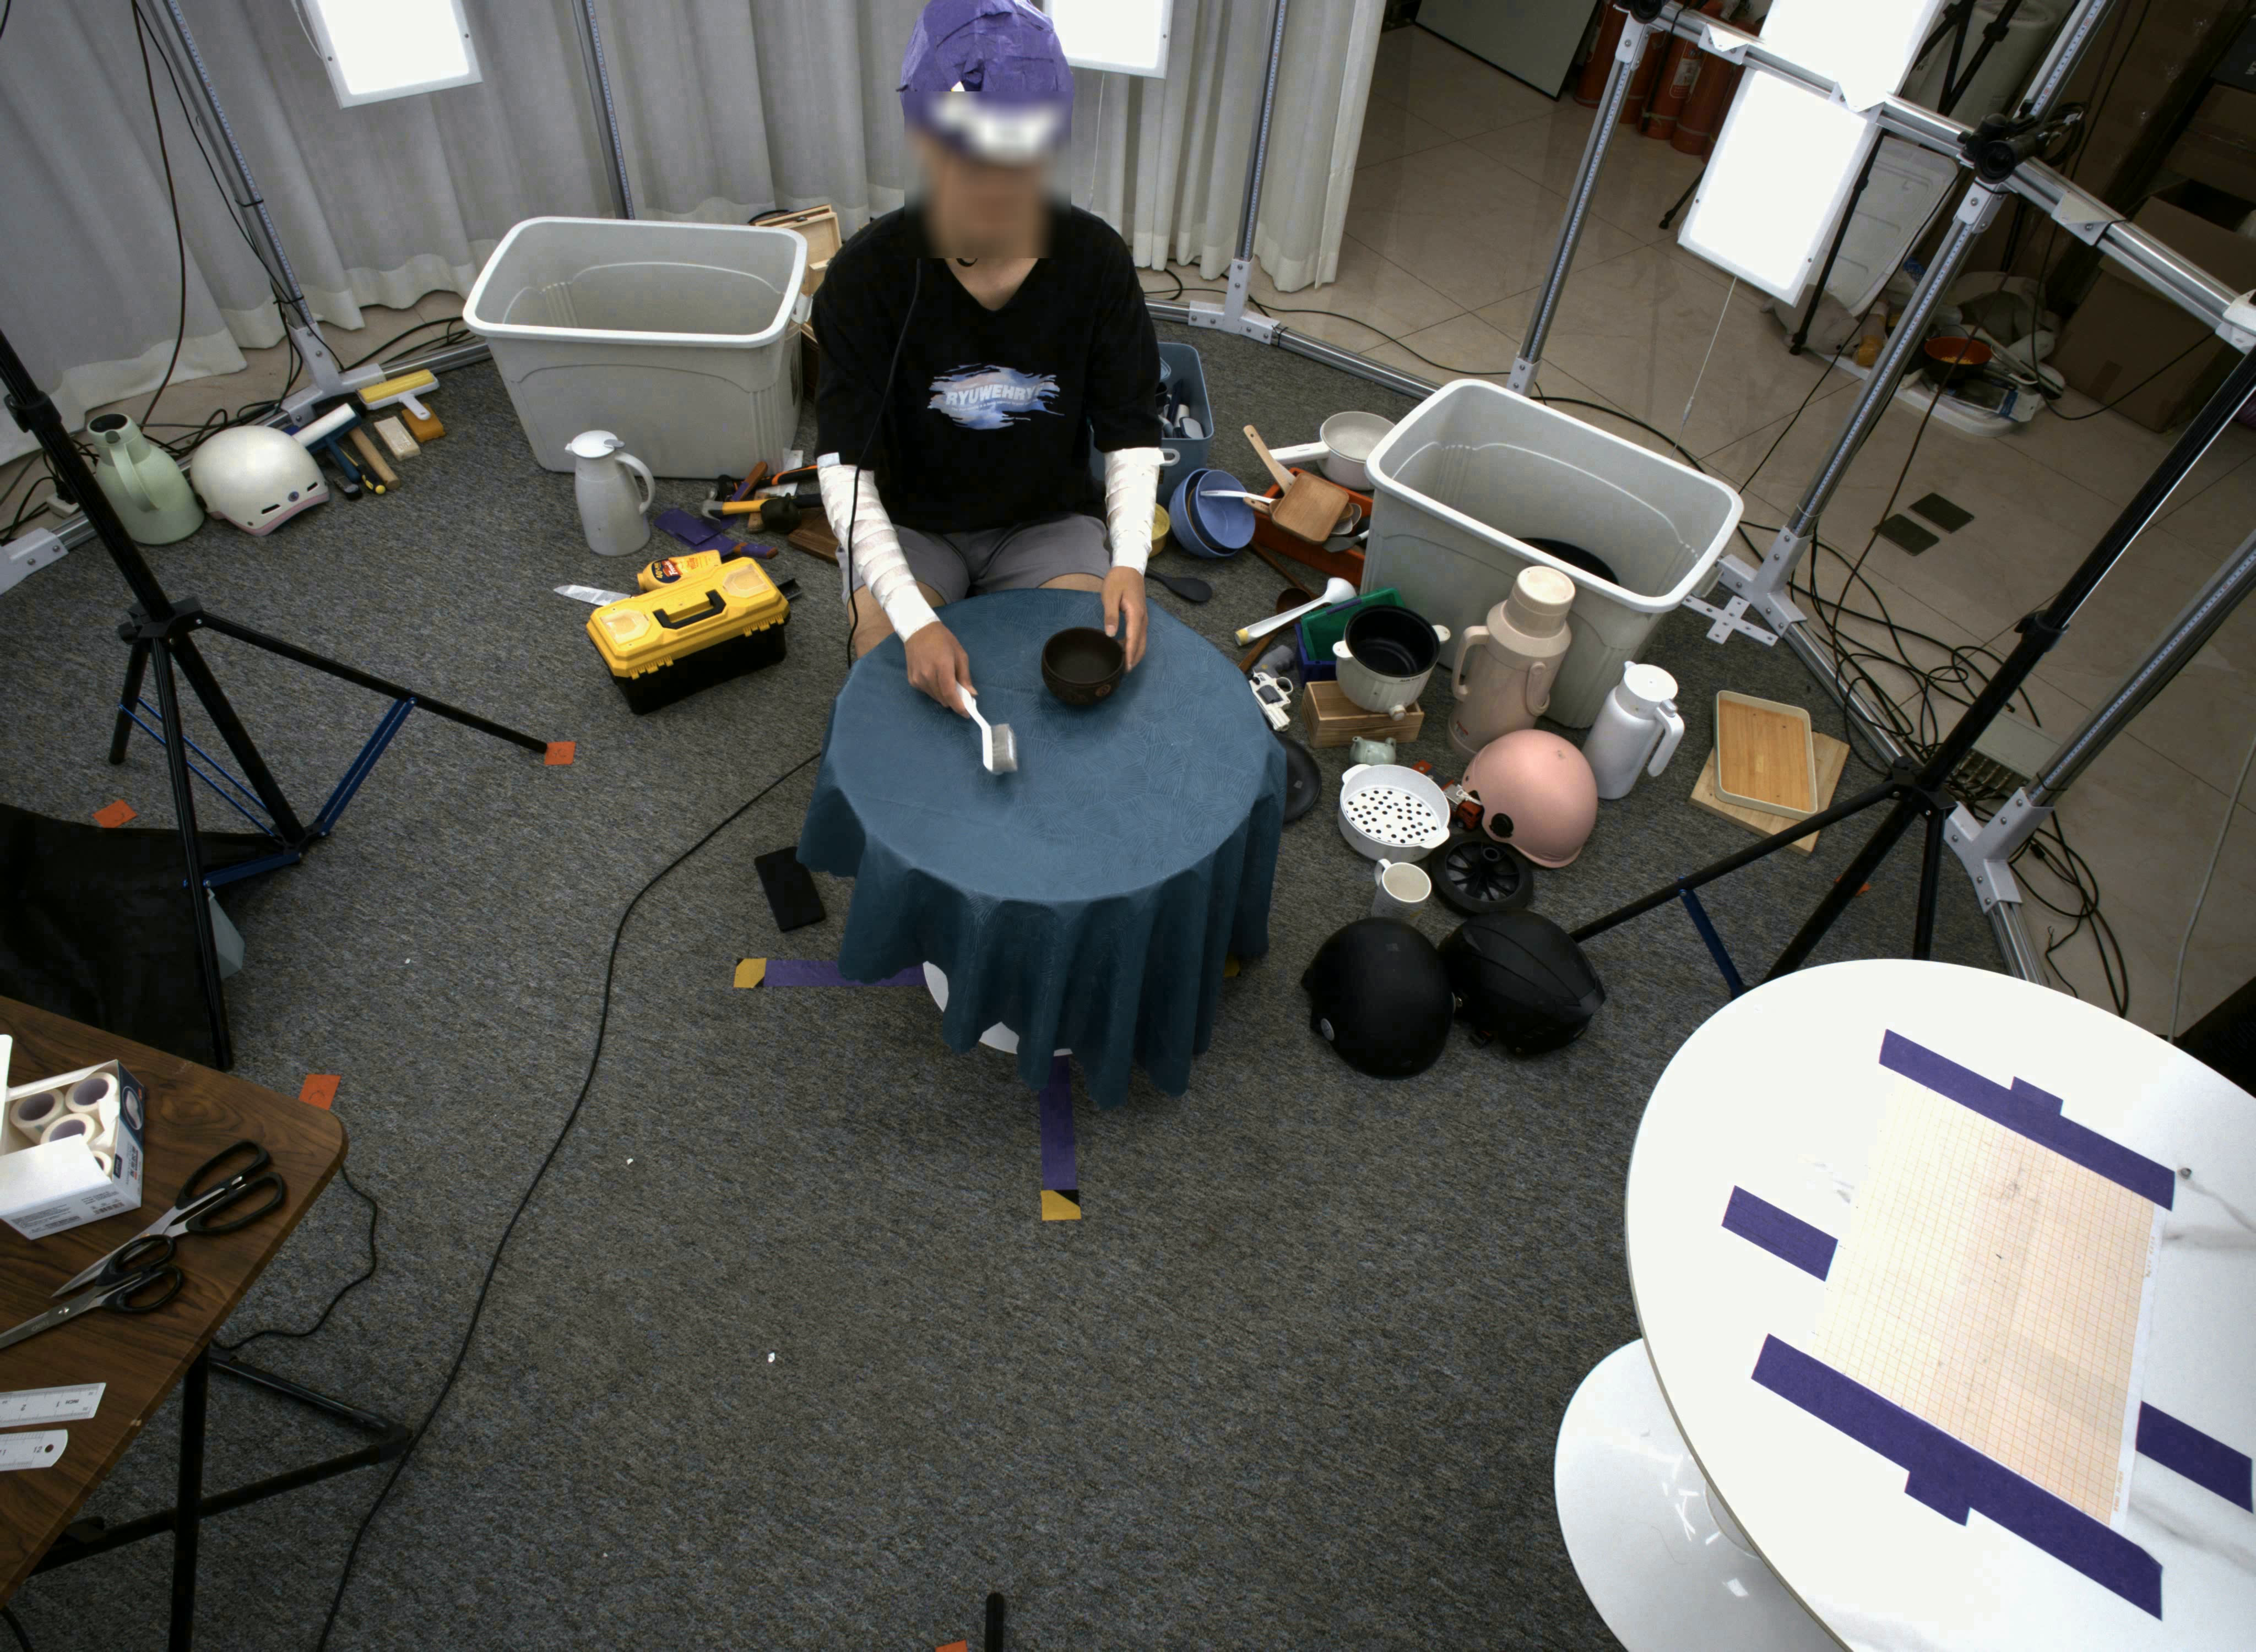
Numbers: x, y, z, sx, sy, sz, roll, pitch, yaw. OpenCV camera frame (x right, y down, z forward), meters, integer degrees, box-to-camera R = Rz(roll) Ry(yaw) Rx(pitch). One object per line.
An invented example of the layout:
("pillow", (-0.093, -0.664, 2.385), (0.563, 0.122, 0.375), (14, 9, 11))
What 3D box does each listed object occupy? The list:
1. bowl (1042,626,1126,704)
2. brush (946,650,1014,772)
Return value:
("bowl", (-0.063, -0.219, 1.811), (0.118, 0.068, 0.121), (1, 48, -1))
("brush", (-0.200, -0.166, 1.753), (0.050, 0.033, 0.249), (-26, 50, 3))
